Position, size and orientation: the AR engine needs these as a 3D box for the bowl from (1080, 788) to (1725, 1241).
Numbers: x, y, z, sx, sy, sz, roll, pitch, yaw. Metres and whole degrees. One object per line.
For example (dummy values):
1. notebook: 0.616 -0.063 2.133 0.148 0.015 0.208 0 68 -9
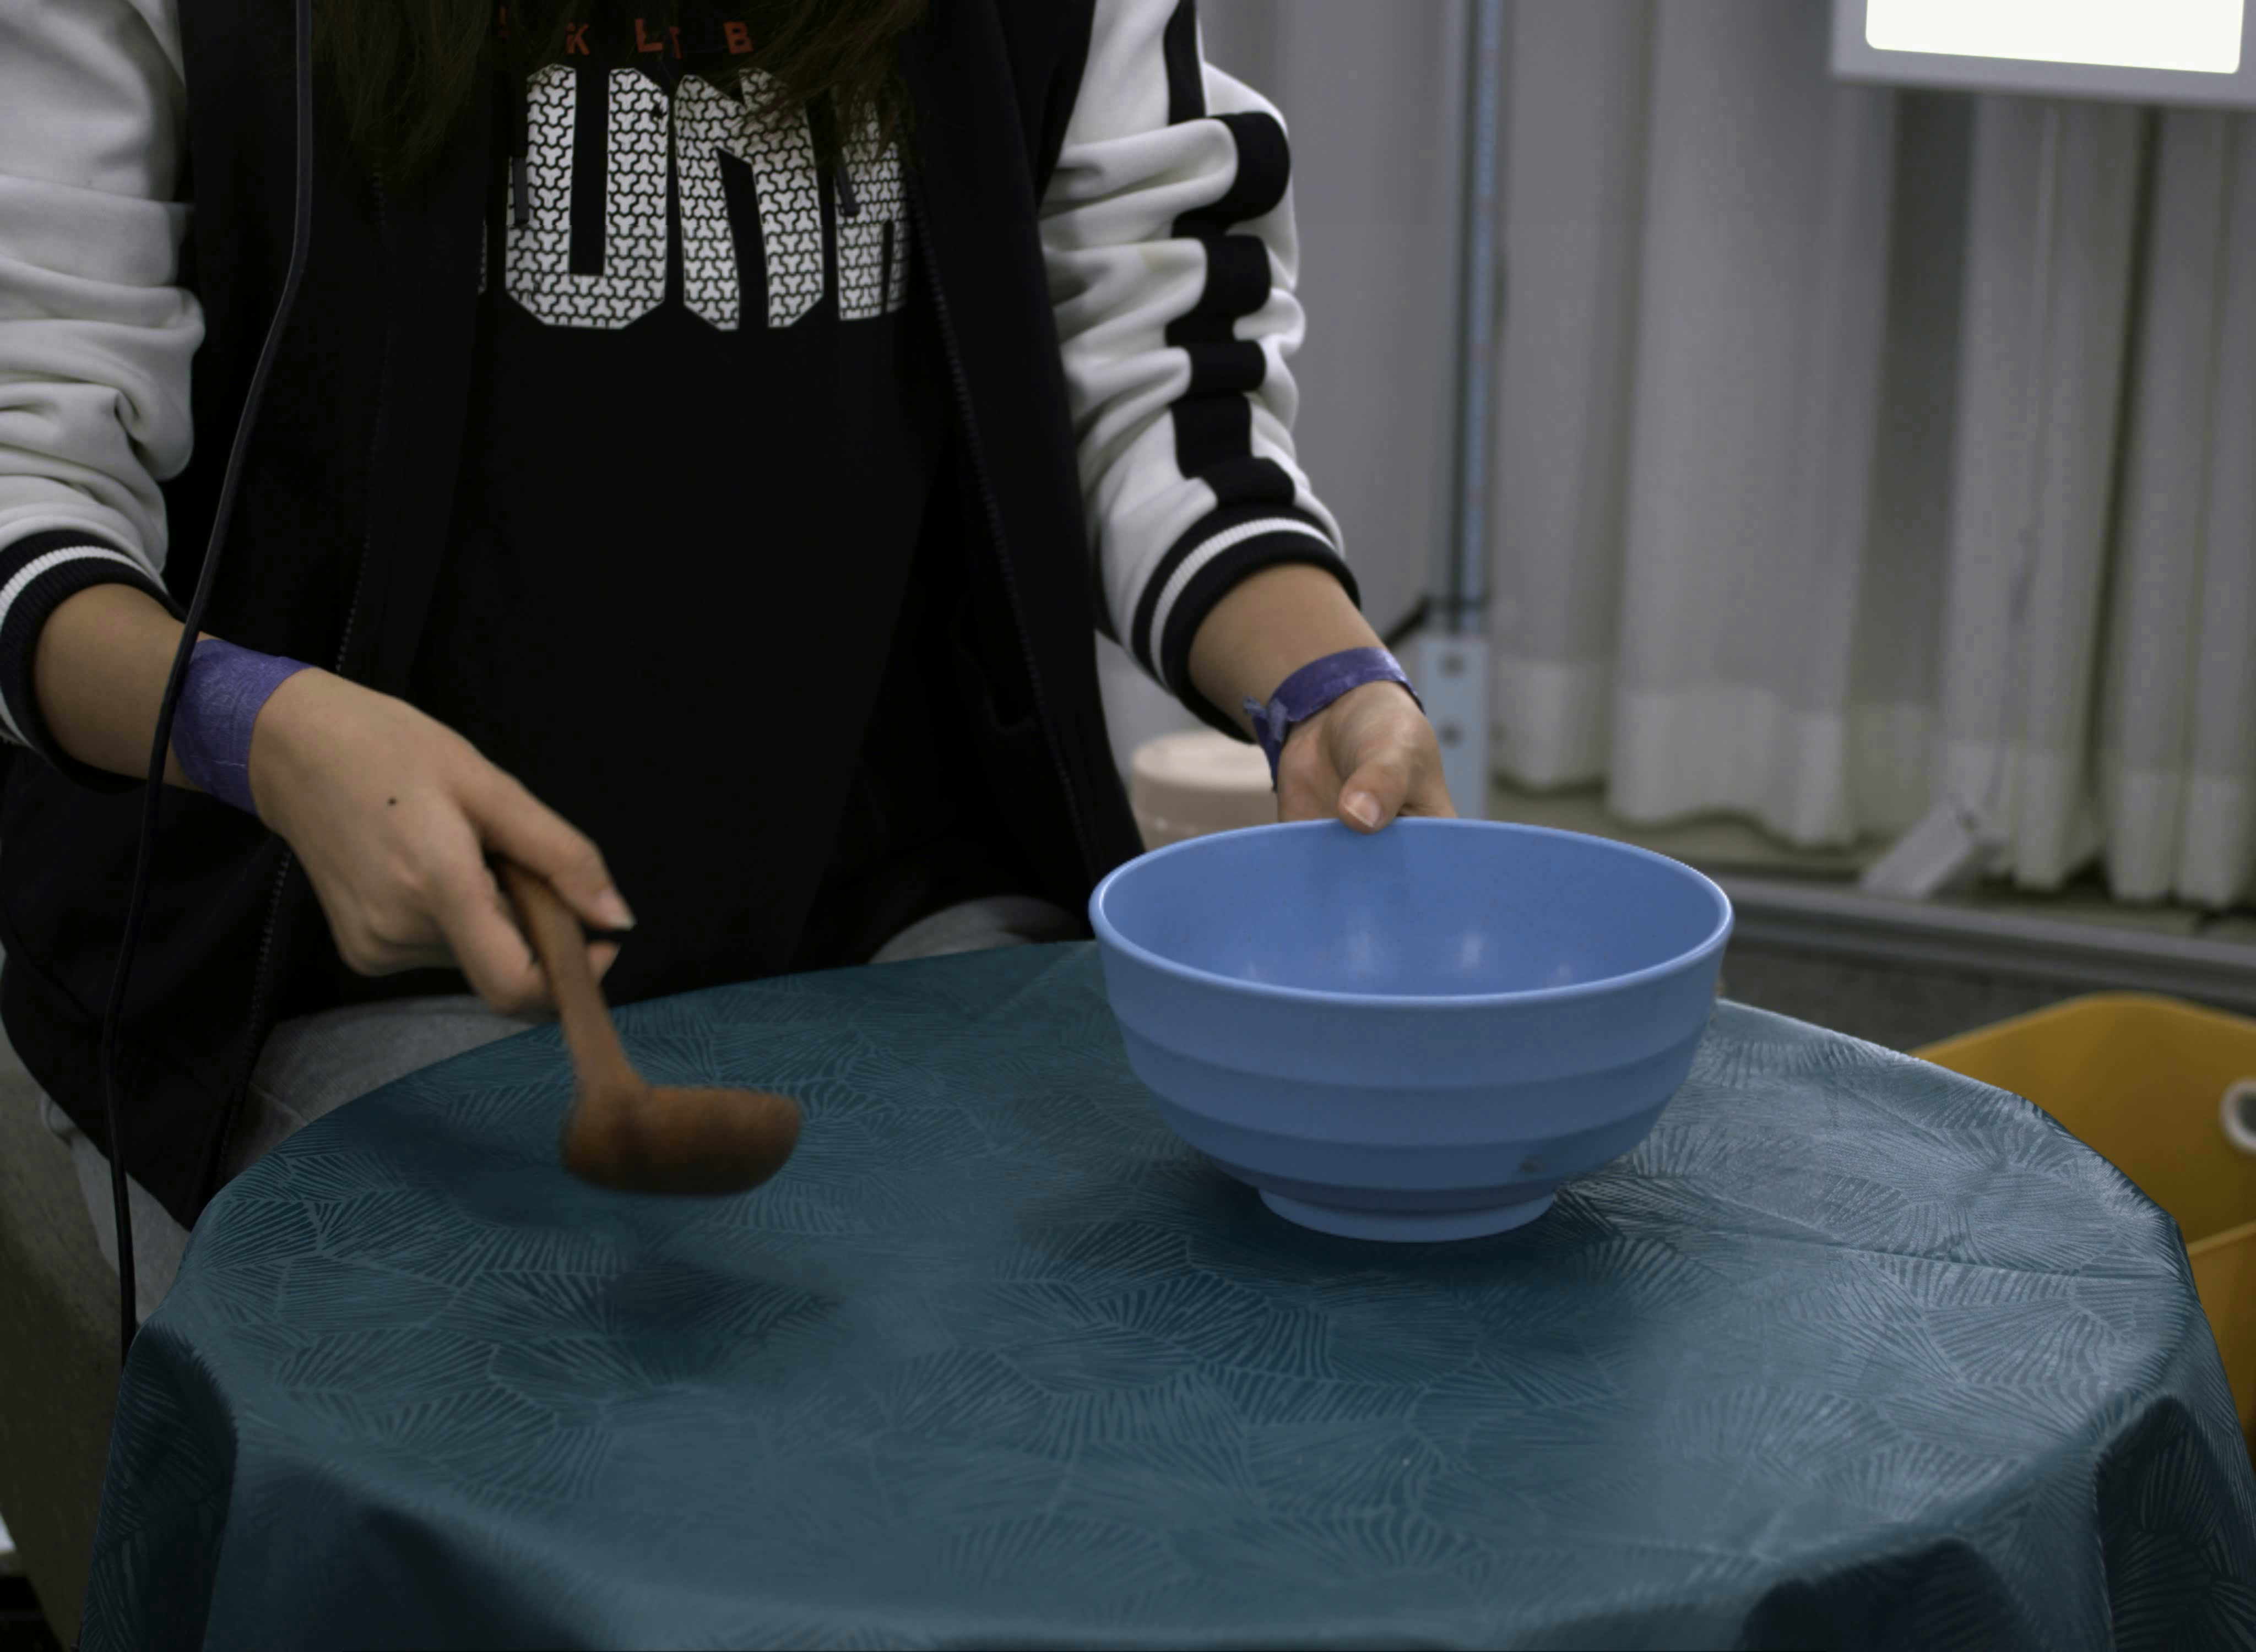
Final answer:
1. bowl: 0.085 0.065 1.616 0.196 0.096 0.195 -2 21 1

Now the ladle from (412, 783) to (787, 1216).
1. ladle: -0.168 0.038 1.582 0.077 0.065 0.257 11 28 -29
